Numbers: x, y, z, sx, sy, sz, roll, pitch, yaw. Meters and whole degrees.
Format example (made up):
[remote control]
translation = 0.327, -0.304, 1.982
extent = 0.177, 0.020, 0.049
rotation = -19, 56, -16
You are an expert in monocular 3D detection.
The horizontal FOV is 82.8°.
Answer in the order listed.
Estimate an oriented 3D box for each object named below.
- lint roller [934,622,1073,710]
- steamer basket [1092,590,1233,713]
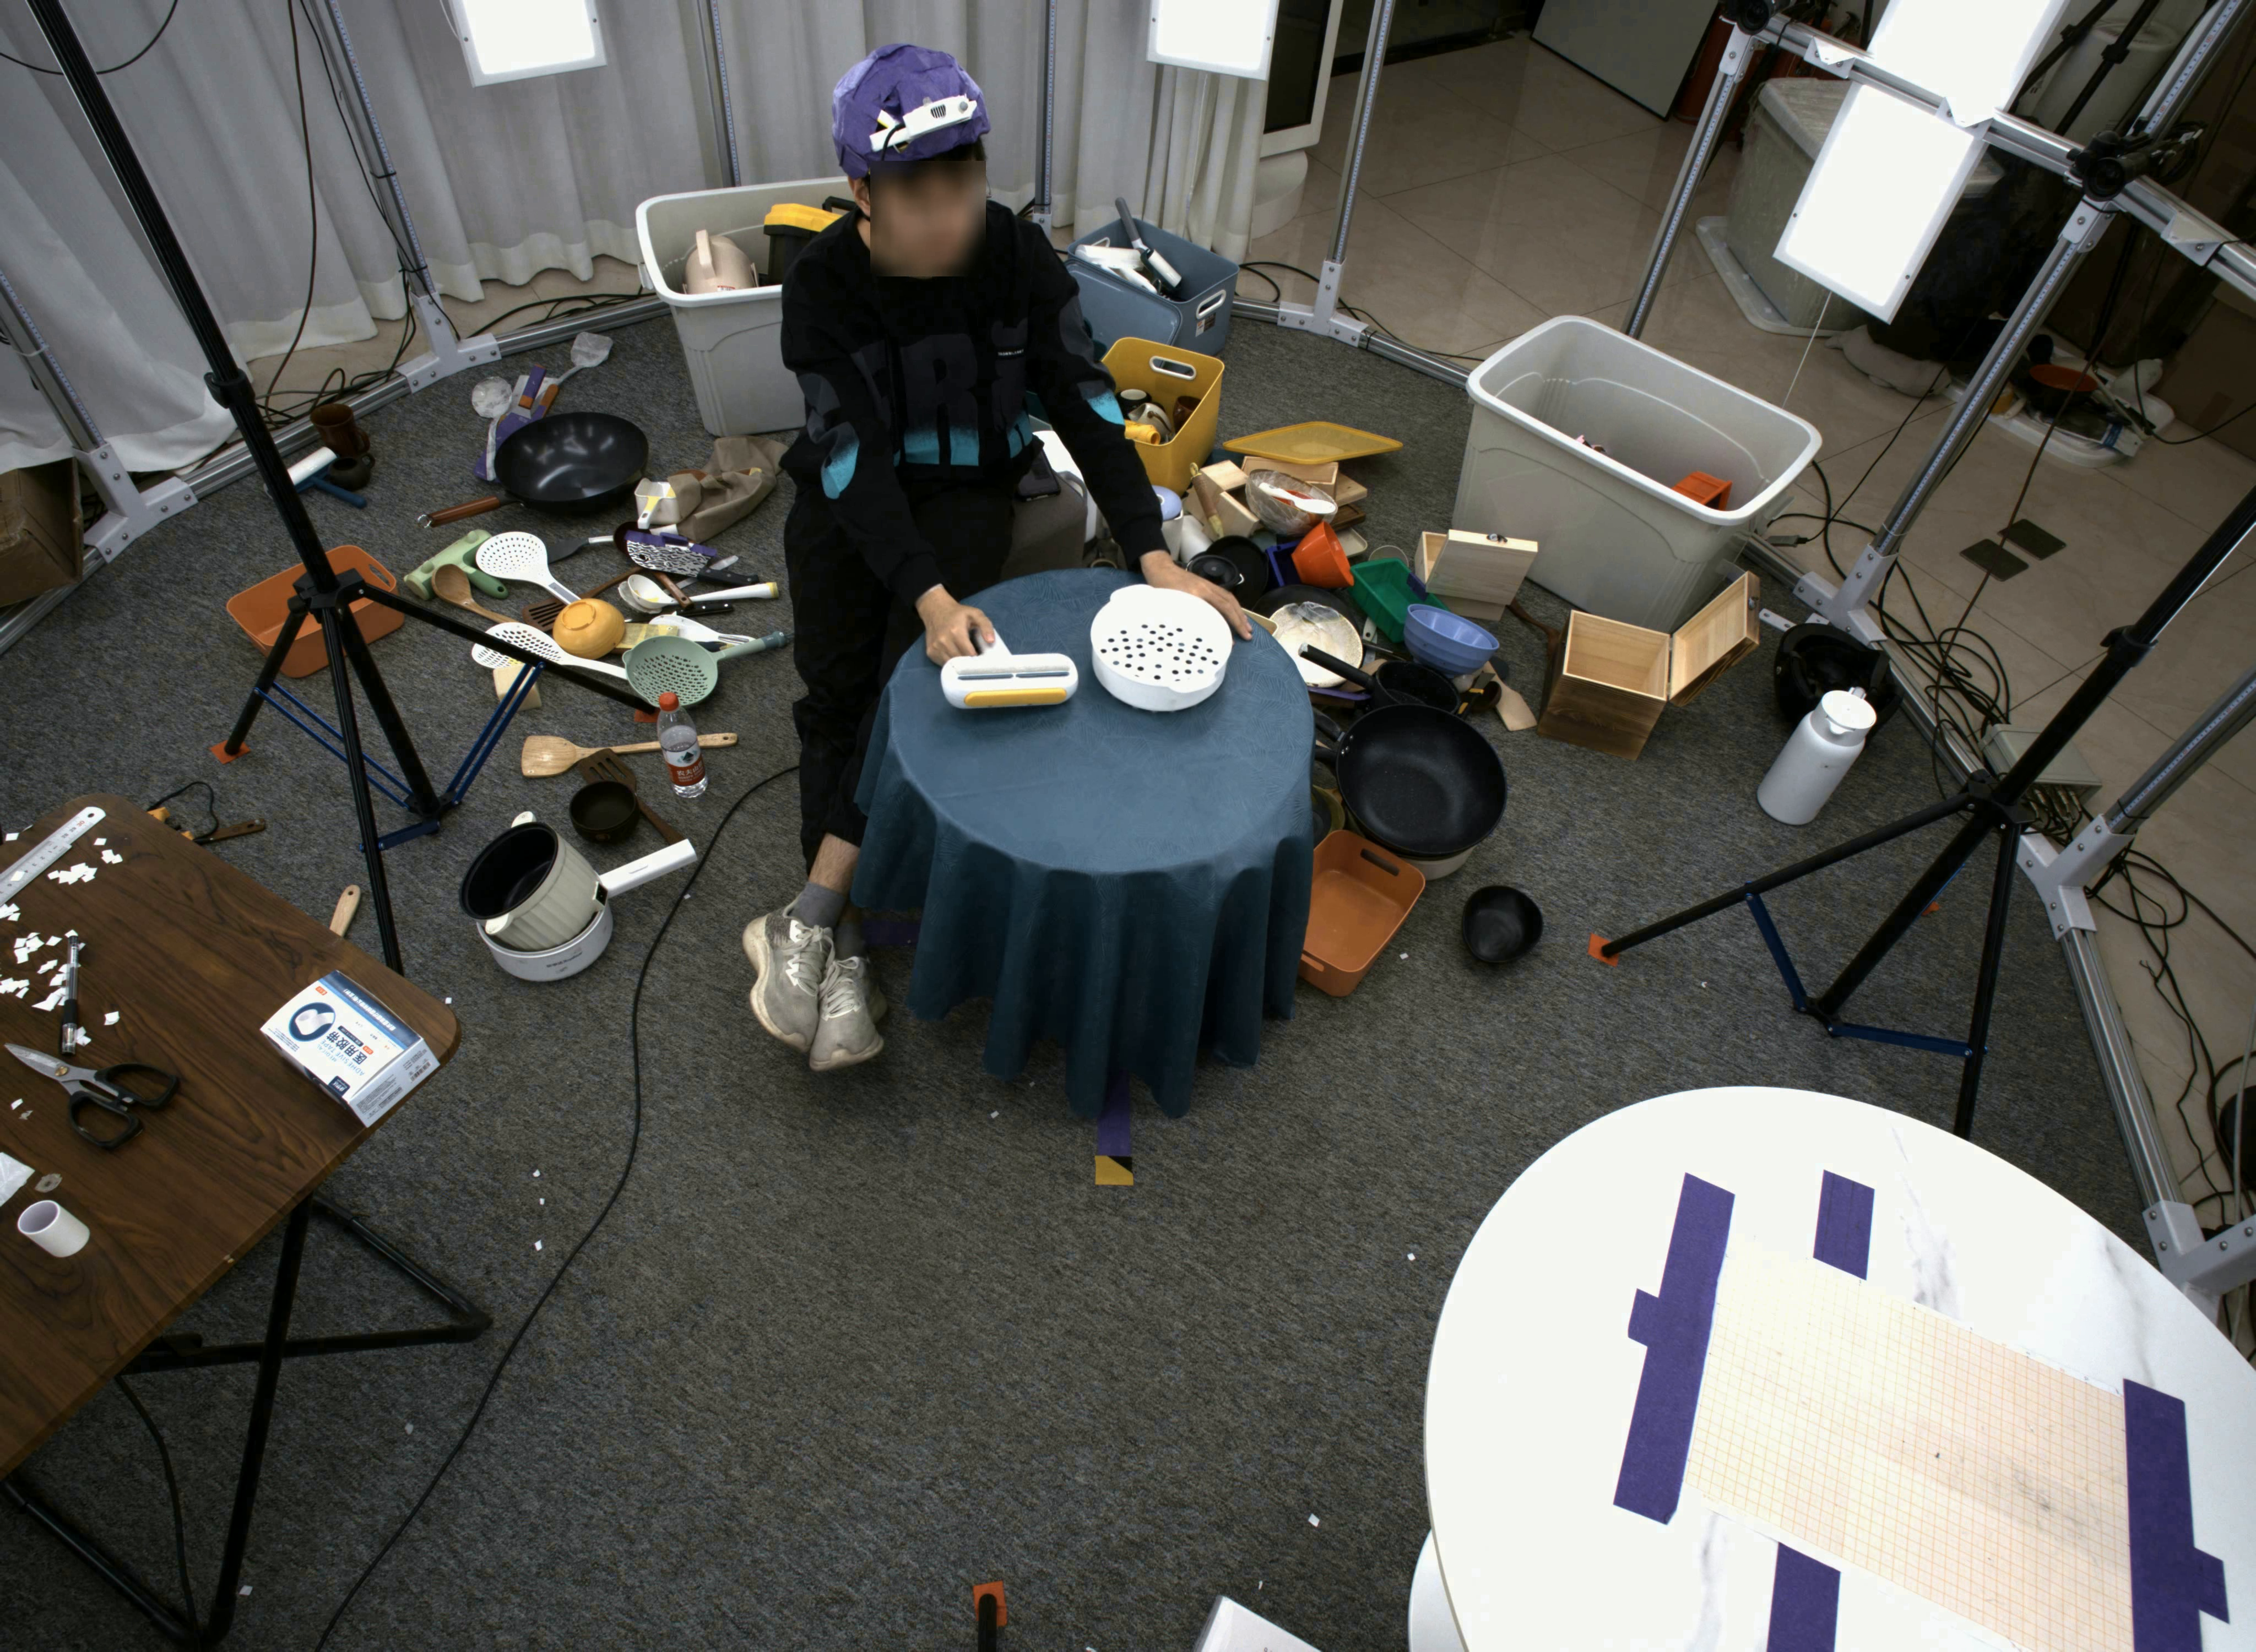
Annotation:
[lint roller]
translation = -0.186, -0.238, 1.819
extent = 0.192, 0.072, 0.197
rotation = -5, 48, -16
[steamer basket]
translation = 0.048, -0.247, 1.844
extent = 0.202, 0.067, 0.236
rotation = -17, 50, -19
